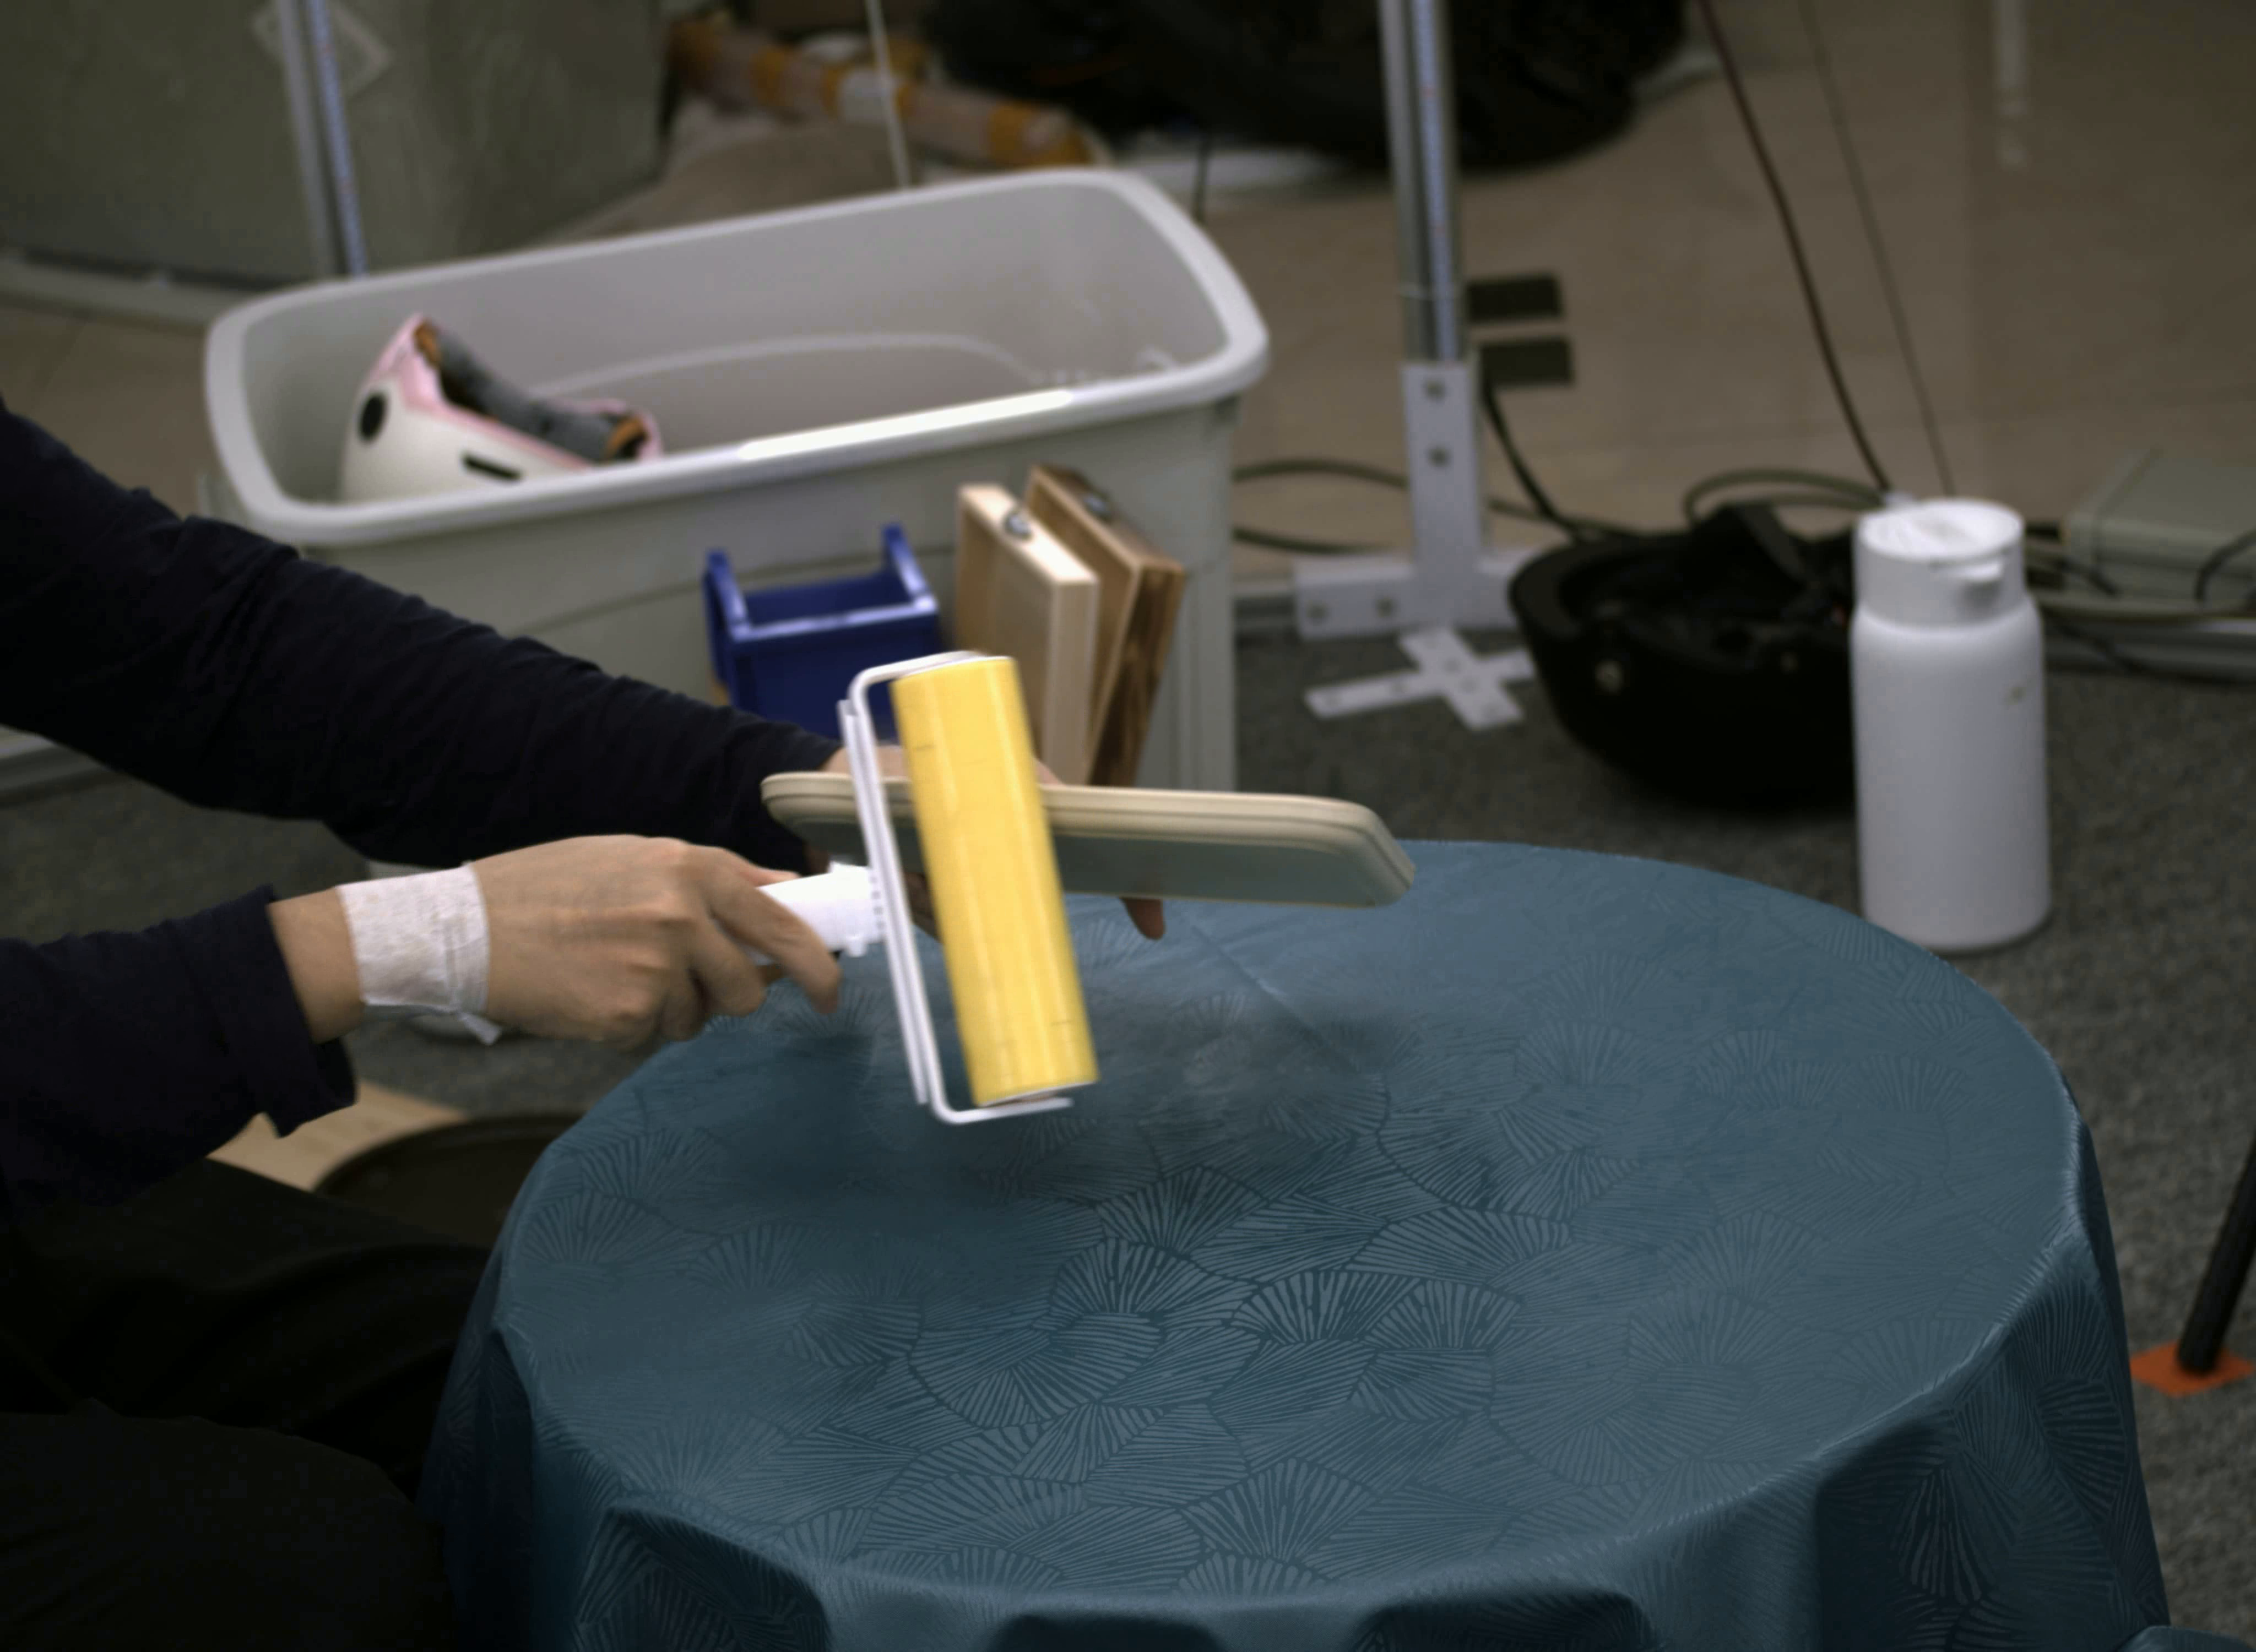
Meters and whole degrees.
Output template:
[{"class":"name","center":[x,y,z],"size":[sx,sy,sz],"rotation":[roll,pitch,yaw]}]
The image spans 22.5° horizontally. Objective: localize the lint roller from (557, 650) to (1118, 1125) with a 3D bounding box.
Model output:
[{"class":"lint roller","center":[-0.112,0.035,2.072],"size":[0.191,0.174,0.051],"rotation":[-11,-5,-17]}]

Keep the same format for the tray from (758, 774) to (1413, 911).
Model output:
[{"class":"tray","center":[-0.015,0.008,2.192],"size":[0.239,0.017,0.172],"rotation":[3,-10,11]}]
